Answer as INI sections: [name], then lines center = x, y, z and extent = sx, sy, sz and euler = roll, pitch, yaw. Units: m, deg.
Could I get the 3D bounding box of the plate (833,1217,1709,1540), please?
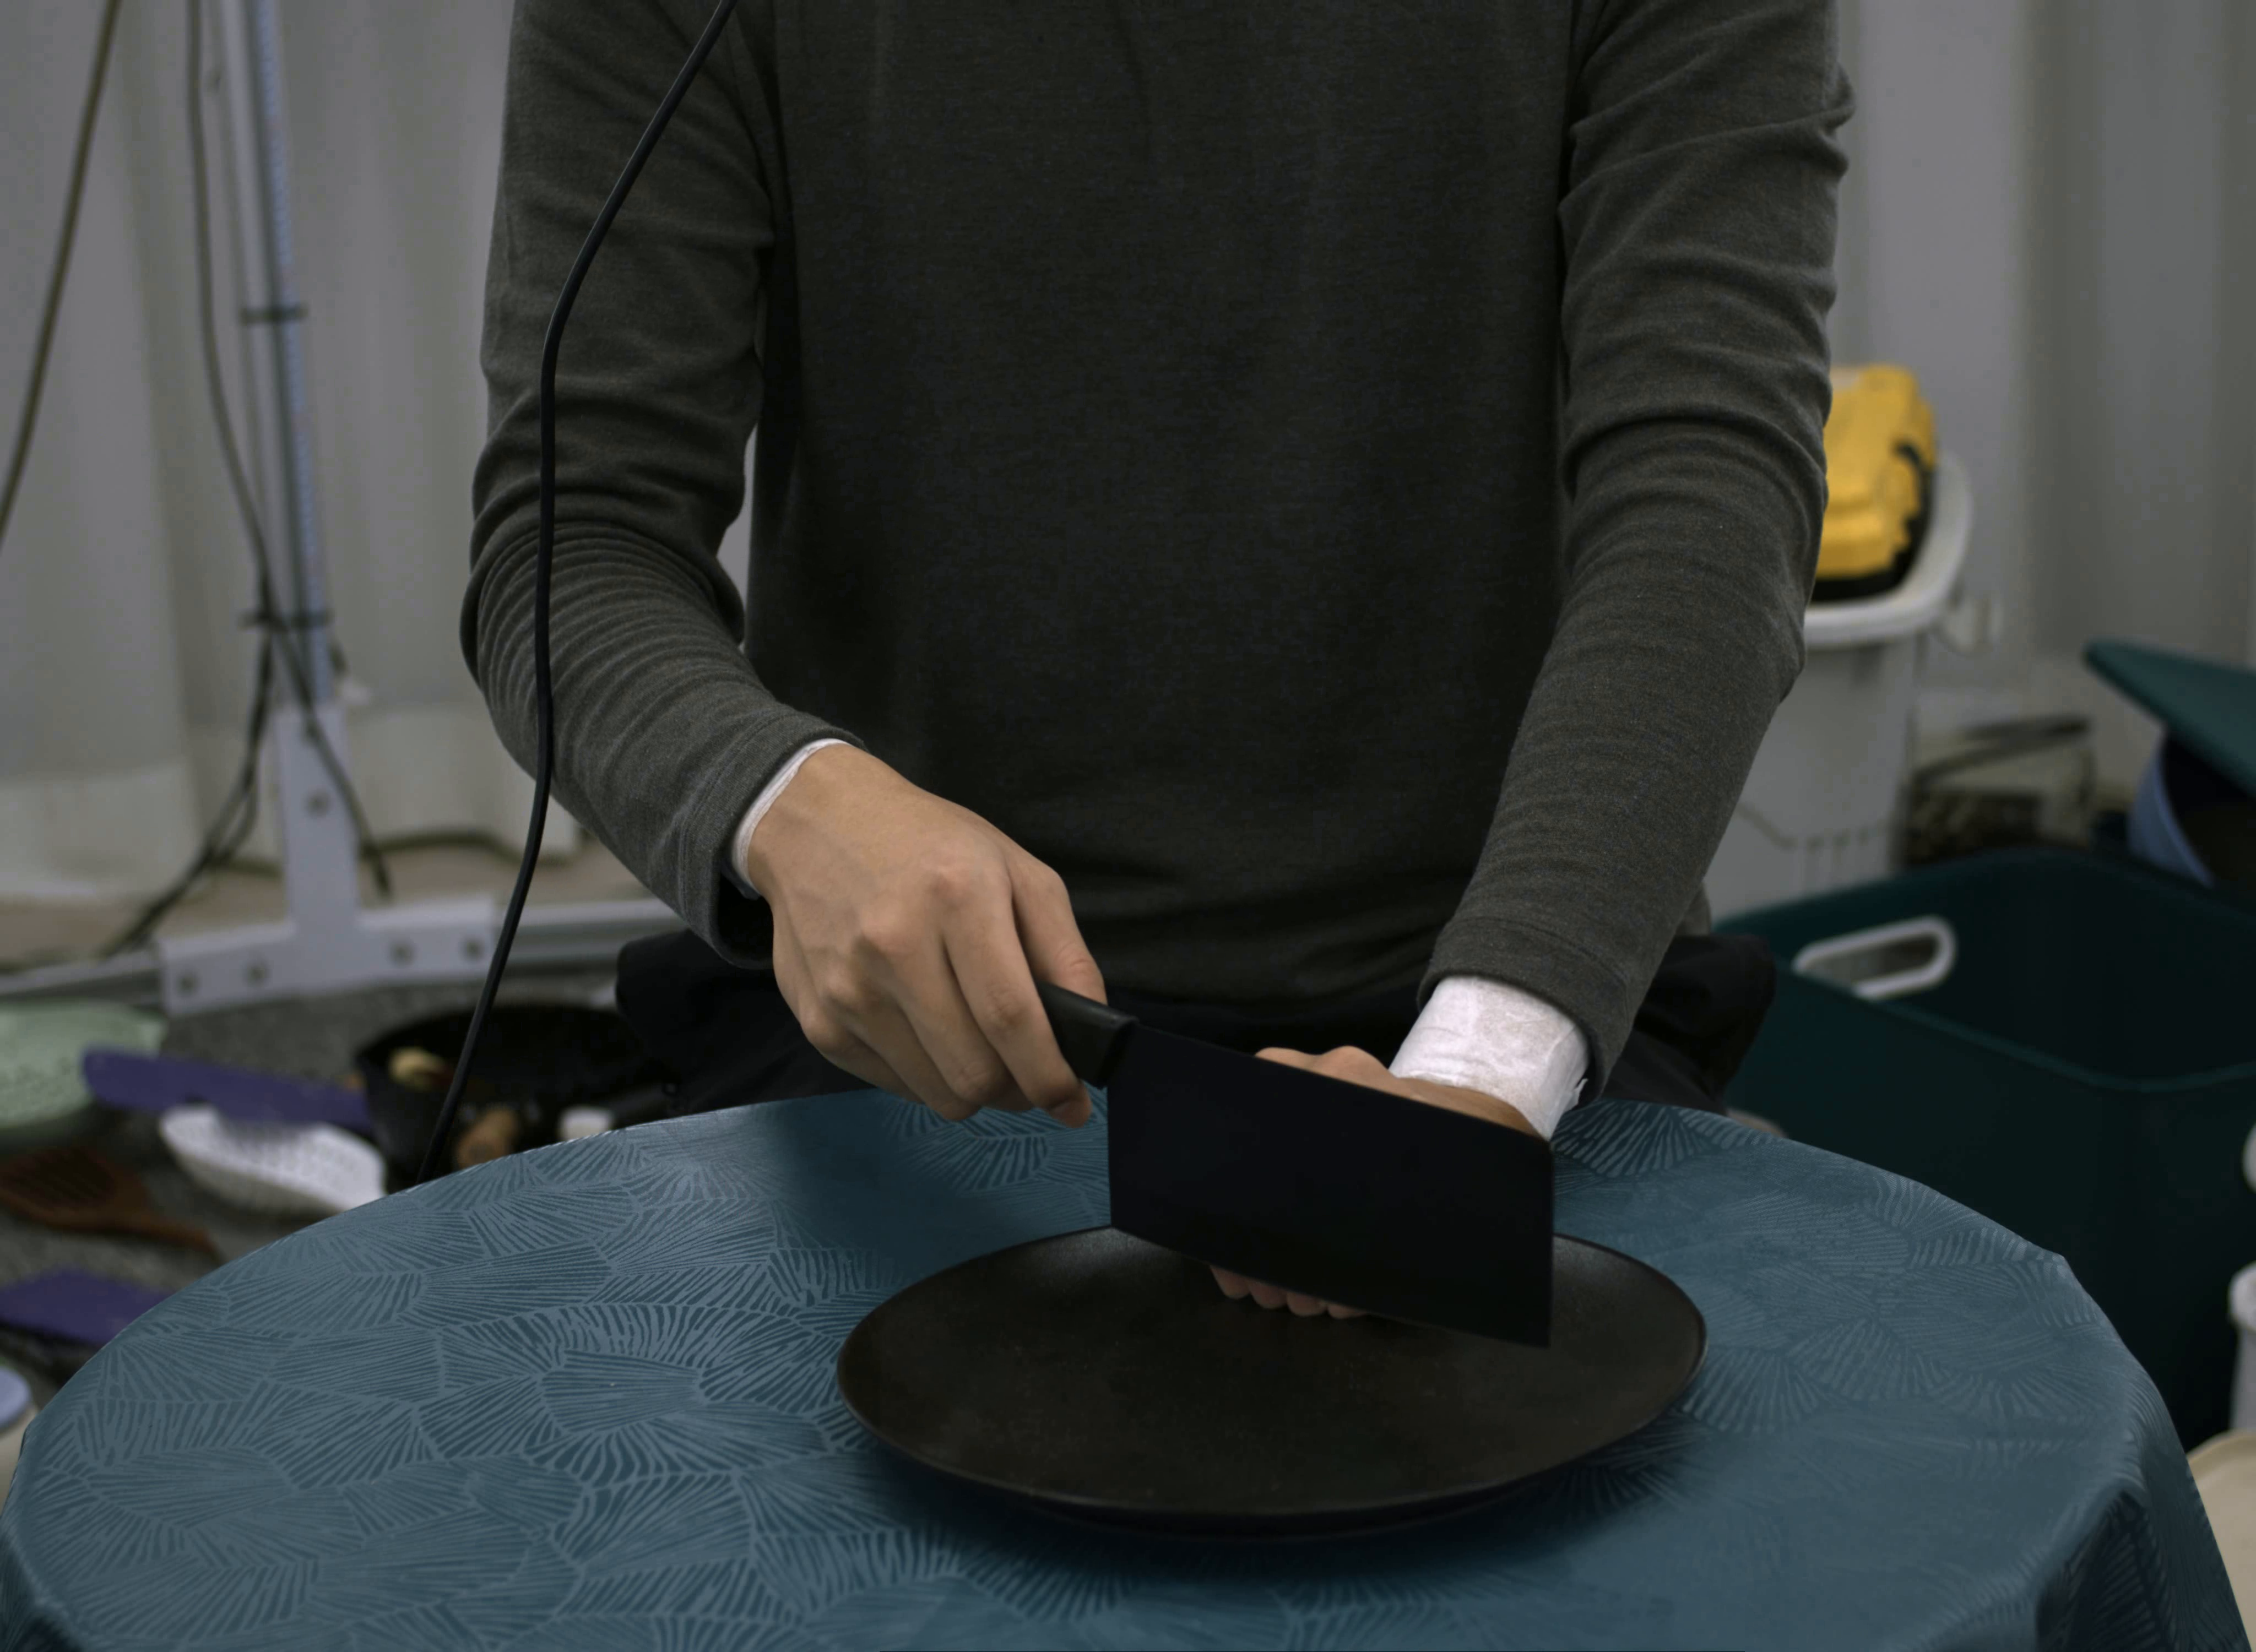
[plate]
center = 0.040, 0.154, 1.517
extent = 0.243, 0.023, 0.246
euler = -3, 15, 0

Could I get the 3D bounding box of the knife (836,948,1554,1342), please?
[knife]
center = 0.015, 0.086, 1.579
extent = 0.021, 0.080, 0.304
euler = -9, 19, -40
